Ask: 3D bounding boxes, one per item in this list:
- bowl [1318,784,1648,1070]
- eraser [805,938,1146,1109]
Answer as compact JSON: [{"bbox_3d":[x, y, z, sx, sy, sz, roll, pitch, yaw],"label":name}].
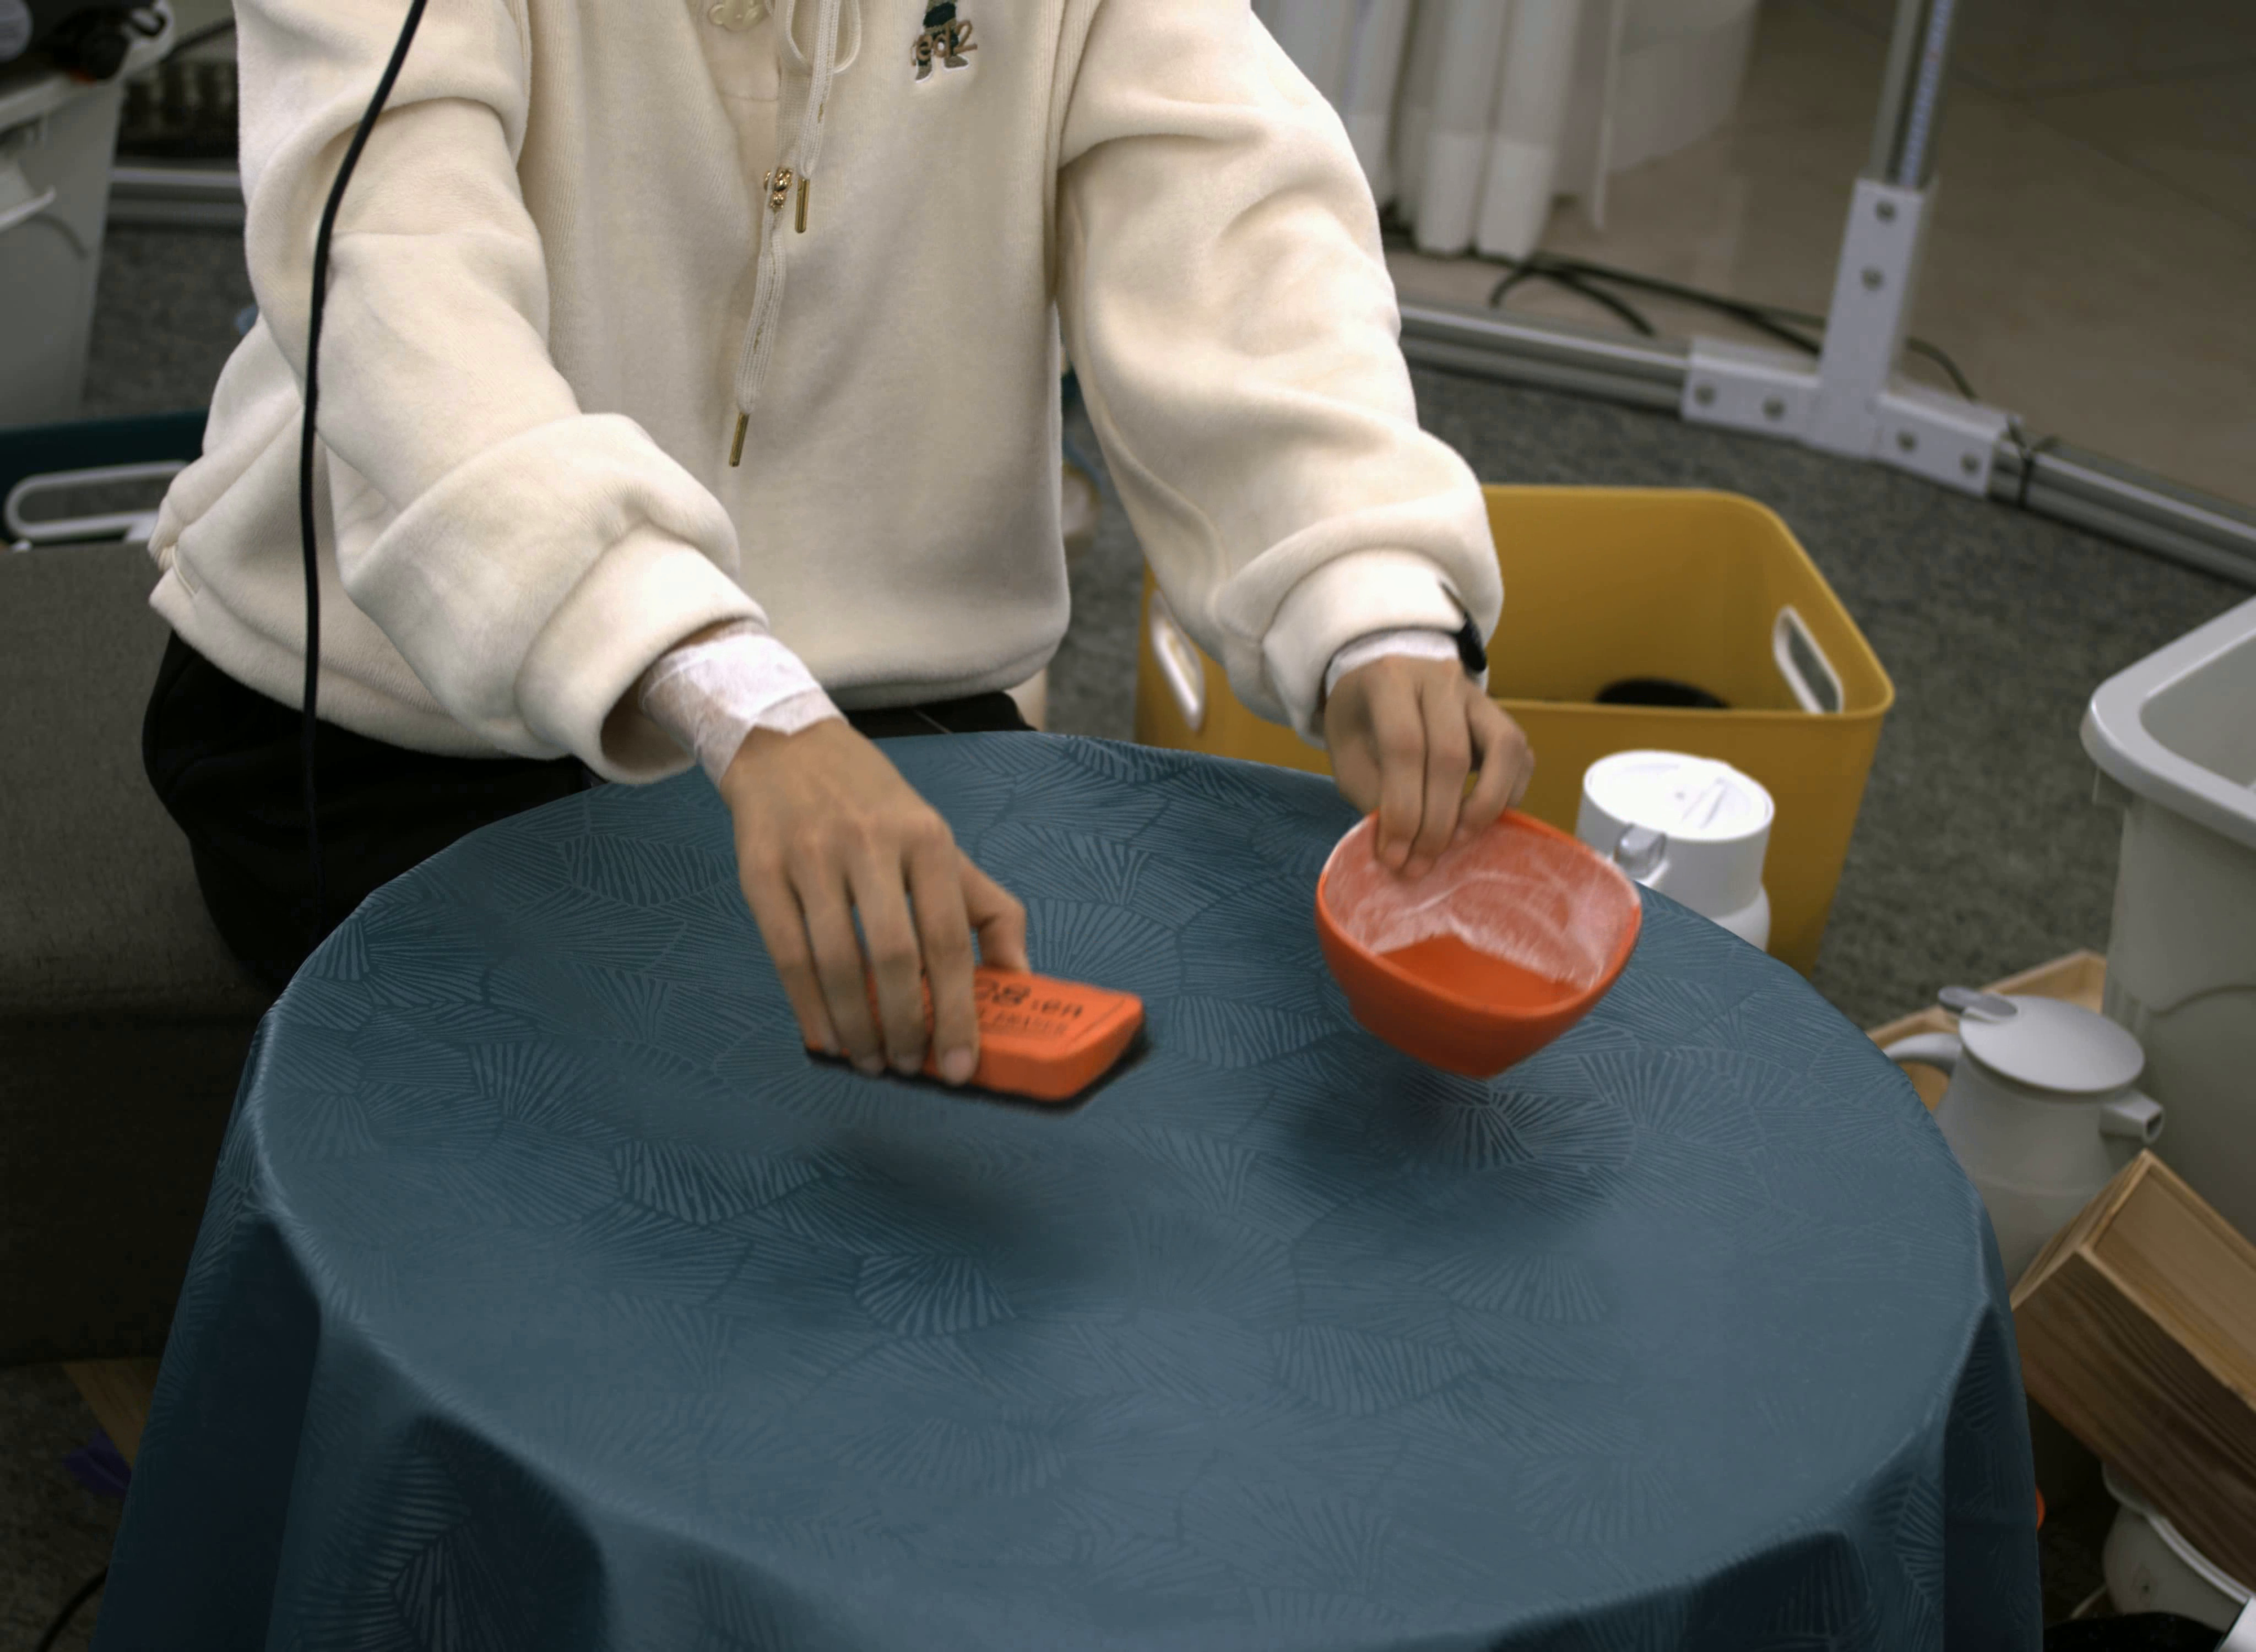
[{"bbox_3d":[0.121,0.041,1.862,0.118,0.051,0.120,6,38,-5],"label":"bowl"},{"bbox_3d":[-0.051,0.065,1.776,0.108,0.023,0.059,10,28,30],"label":"eraser"}]
